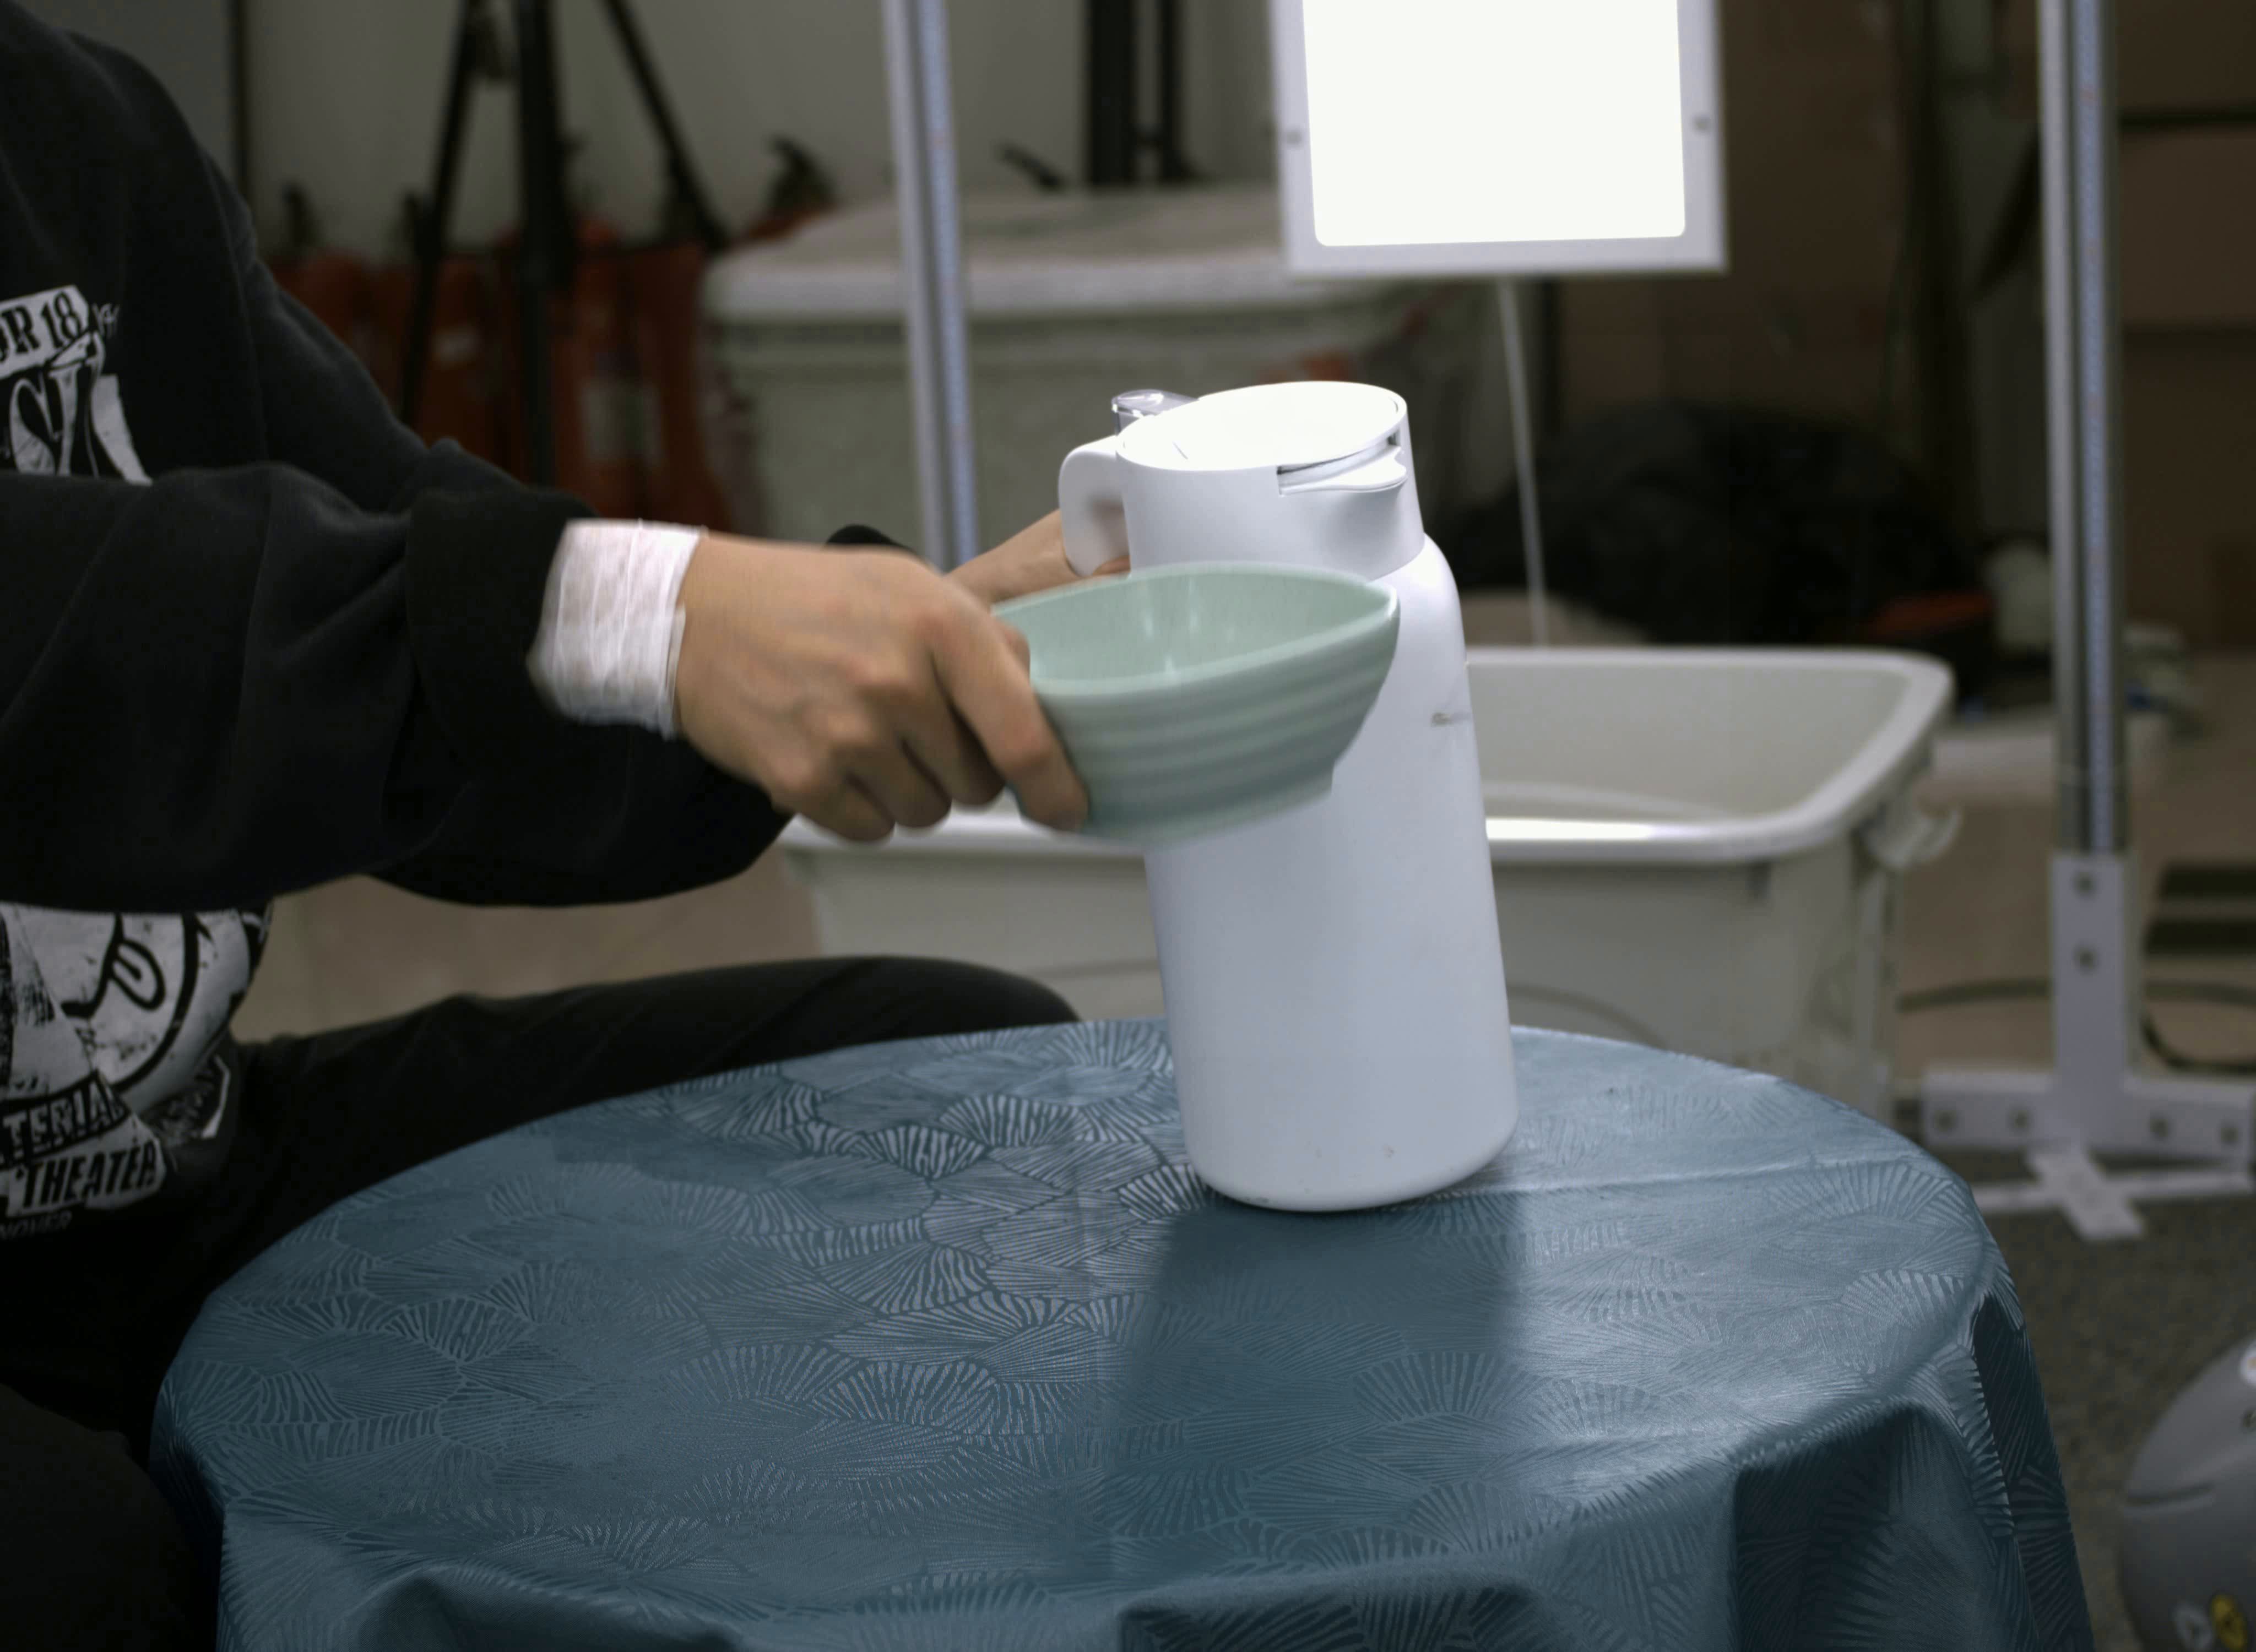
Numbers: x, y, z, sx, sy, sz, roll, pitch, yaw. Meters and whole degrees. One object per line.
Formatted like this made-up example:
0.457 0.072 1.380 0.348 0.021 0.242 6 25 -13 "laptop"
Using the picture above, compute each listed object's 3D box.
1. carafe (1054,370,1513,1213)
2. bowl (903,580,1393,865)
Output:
0.049 -0.014 1.871 0.121 0.269 0.176 -24 25 -32 "carafe"
0.009 -0.029 1.678 0.151 0.059 0.151 -7 15 1 "bowl"
